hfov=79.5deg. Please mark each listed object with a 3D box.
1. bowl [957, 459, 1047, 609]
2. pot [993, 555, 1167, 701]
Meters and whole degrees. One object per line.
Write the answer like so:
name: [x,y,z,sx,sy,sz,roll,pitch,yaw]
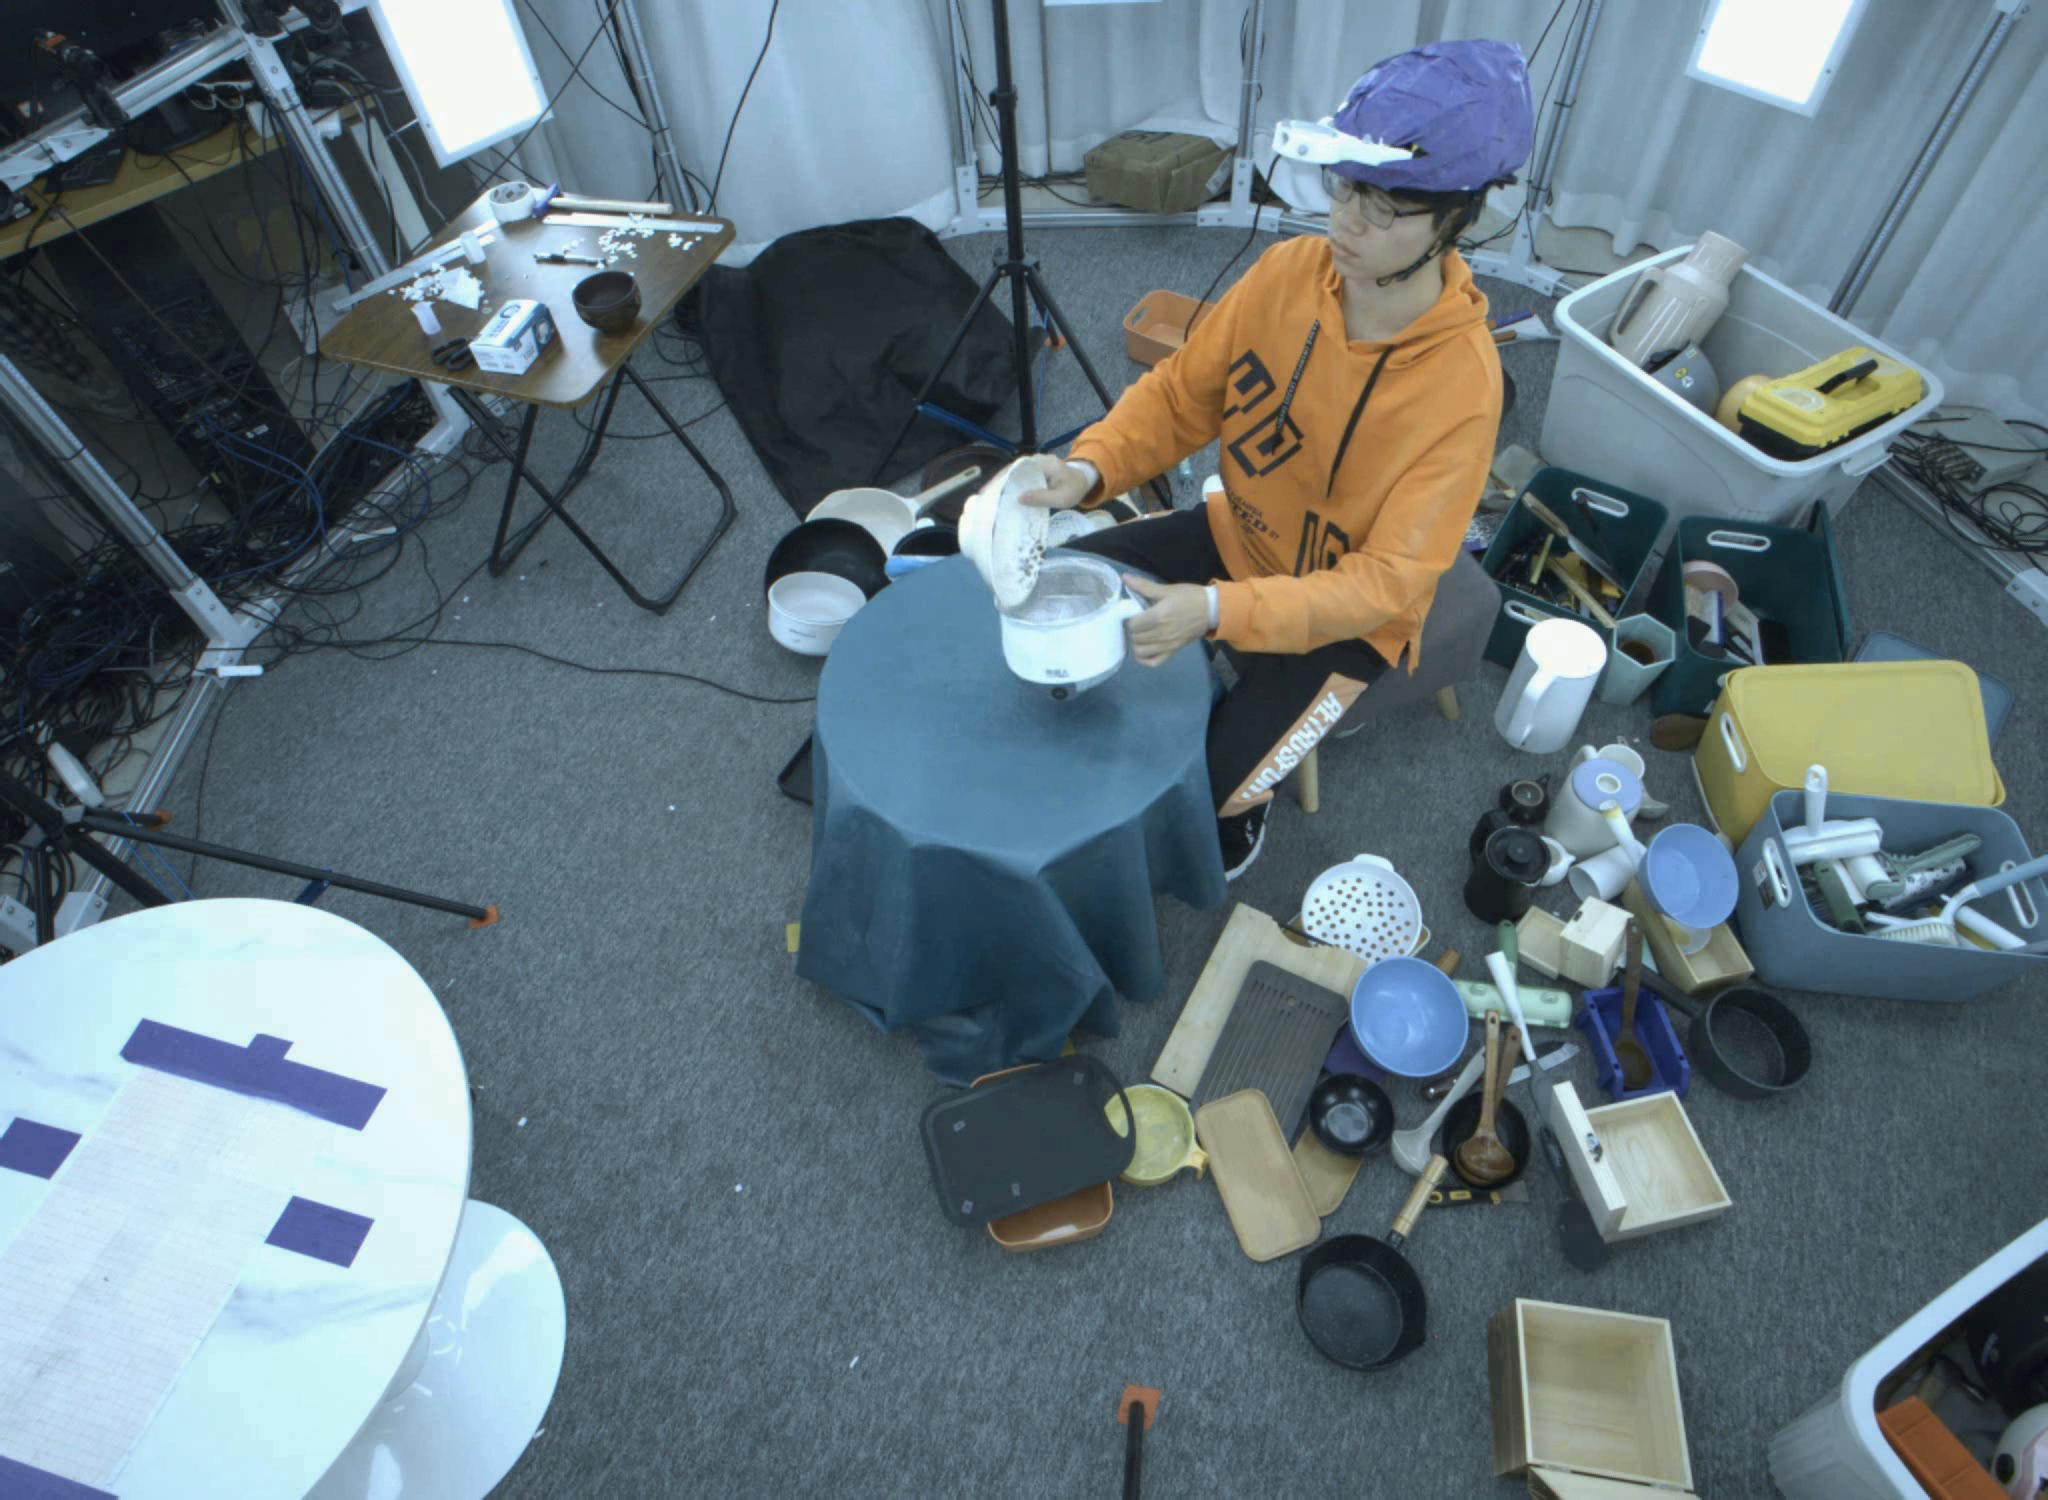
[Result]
bowl: [-0.040,-0.298,1.666,0.077,0.207,0.203,10,56,18]
pot: [0.081,-0.174,1.725,0.232,0.138,0.177,-2,41,10]
